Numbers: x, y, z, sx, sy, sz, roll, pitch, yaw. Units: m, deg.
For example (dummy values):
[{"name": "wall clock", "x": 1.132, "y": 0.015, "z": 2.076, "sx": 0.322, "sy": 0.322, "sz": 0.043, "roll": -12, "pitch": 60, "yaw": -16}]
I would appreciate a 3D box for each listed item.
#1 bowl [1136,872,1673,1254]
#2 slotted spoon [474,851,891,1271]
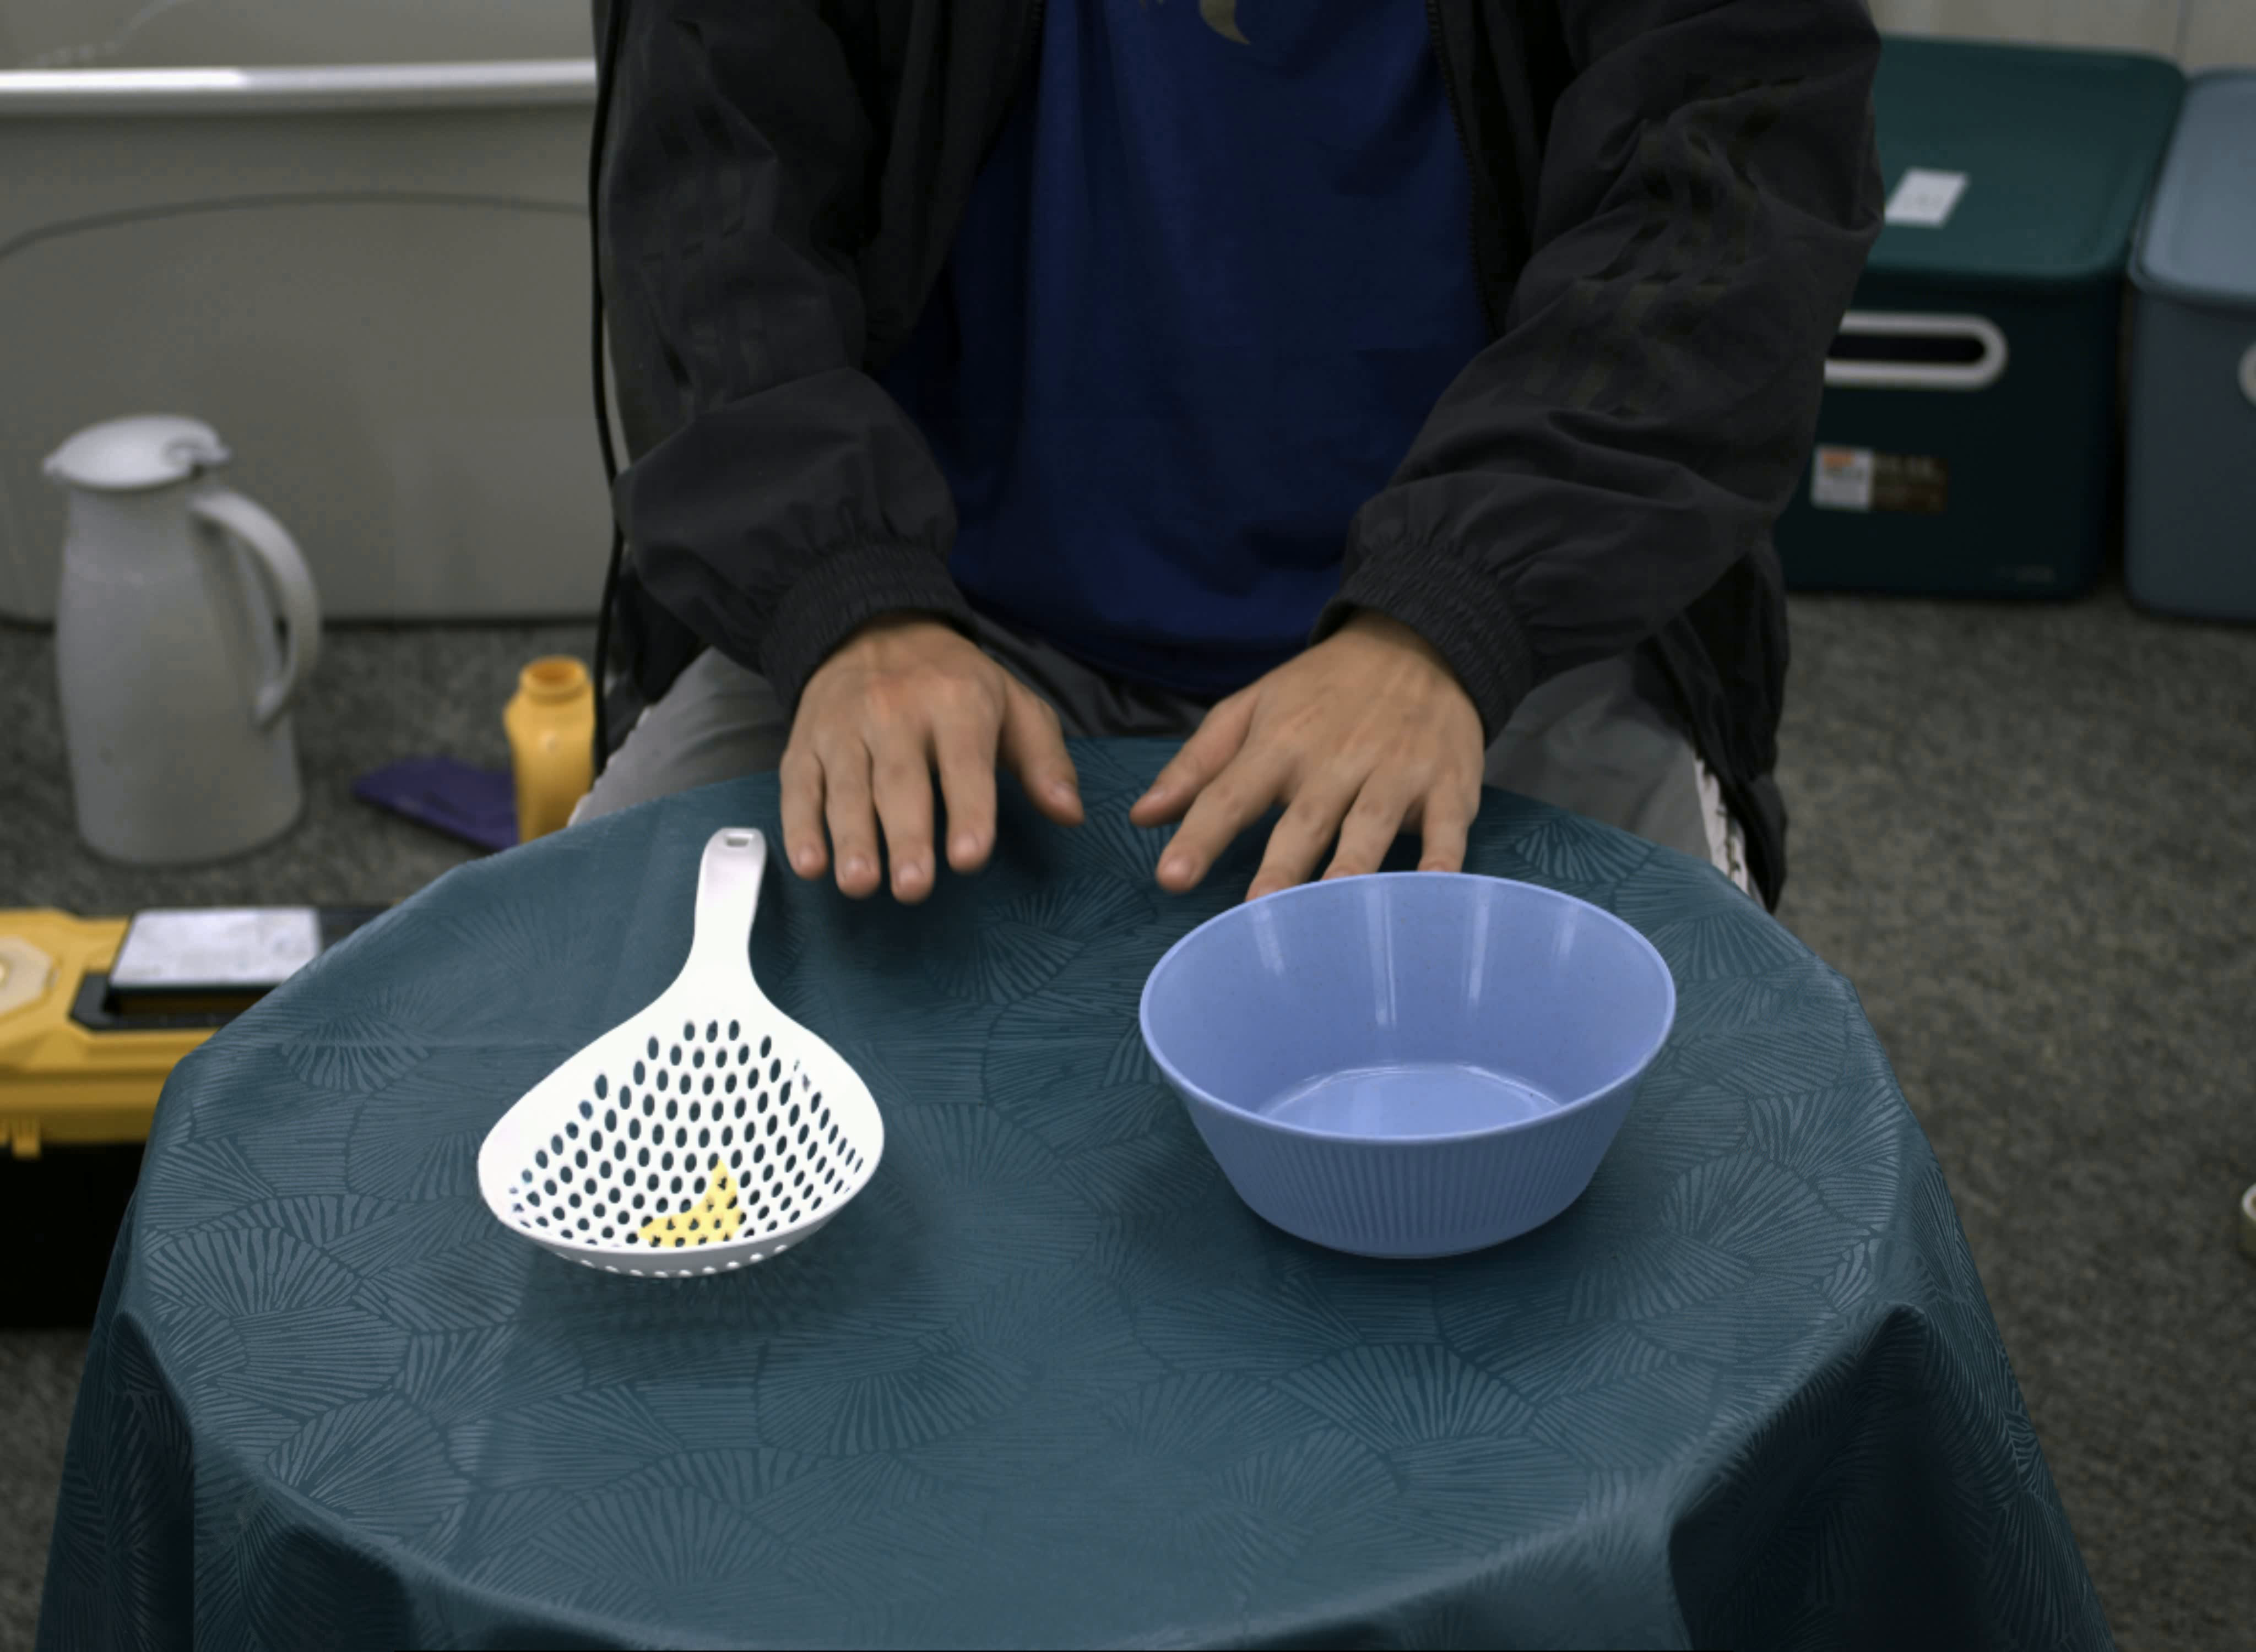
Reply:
[{"name": "bowl", "x": 0.091, "y": 0.083, "z": 1.849, "sx": 0.175, "sy": 0.069, "sz": 0.179, "roll": -2, "pitch": 27, "yaw": 1}, {"name": "slotted spoon", "x": -0.144, "y": 0.068, "z": 1.933, "sx": 0.136, "sy": 0.050, "sz": 0.353, "roll": -6, "pitch": 27, "yaw": 2}]
